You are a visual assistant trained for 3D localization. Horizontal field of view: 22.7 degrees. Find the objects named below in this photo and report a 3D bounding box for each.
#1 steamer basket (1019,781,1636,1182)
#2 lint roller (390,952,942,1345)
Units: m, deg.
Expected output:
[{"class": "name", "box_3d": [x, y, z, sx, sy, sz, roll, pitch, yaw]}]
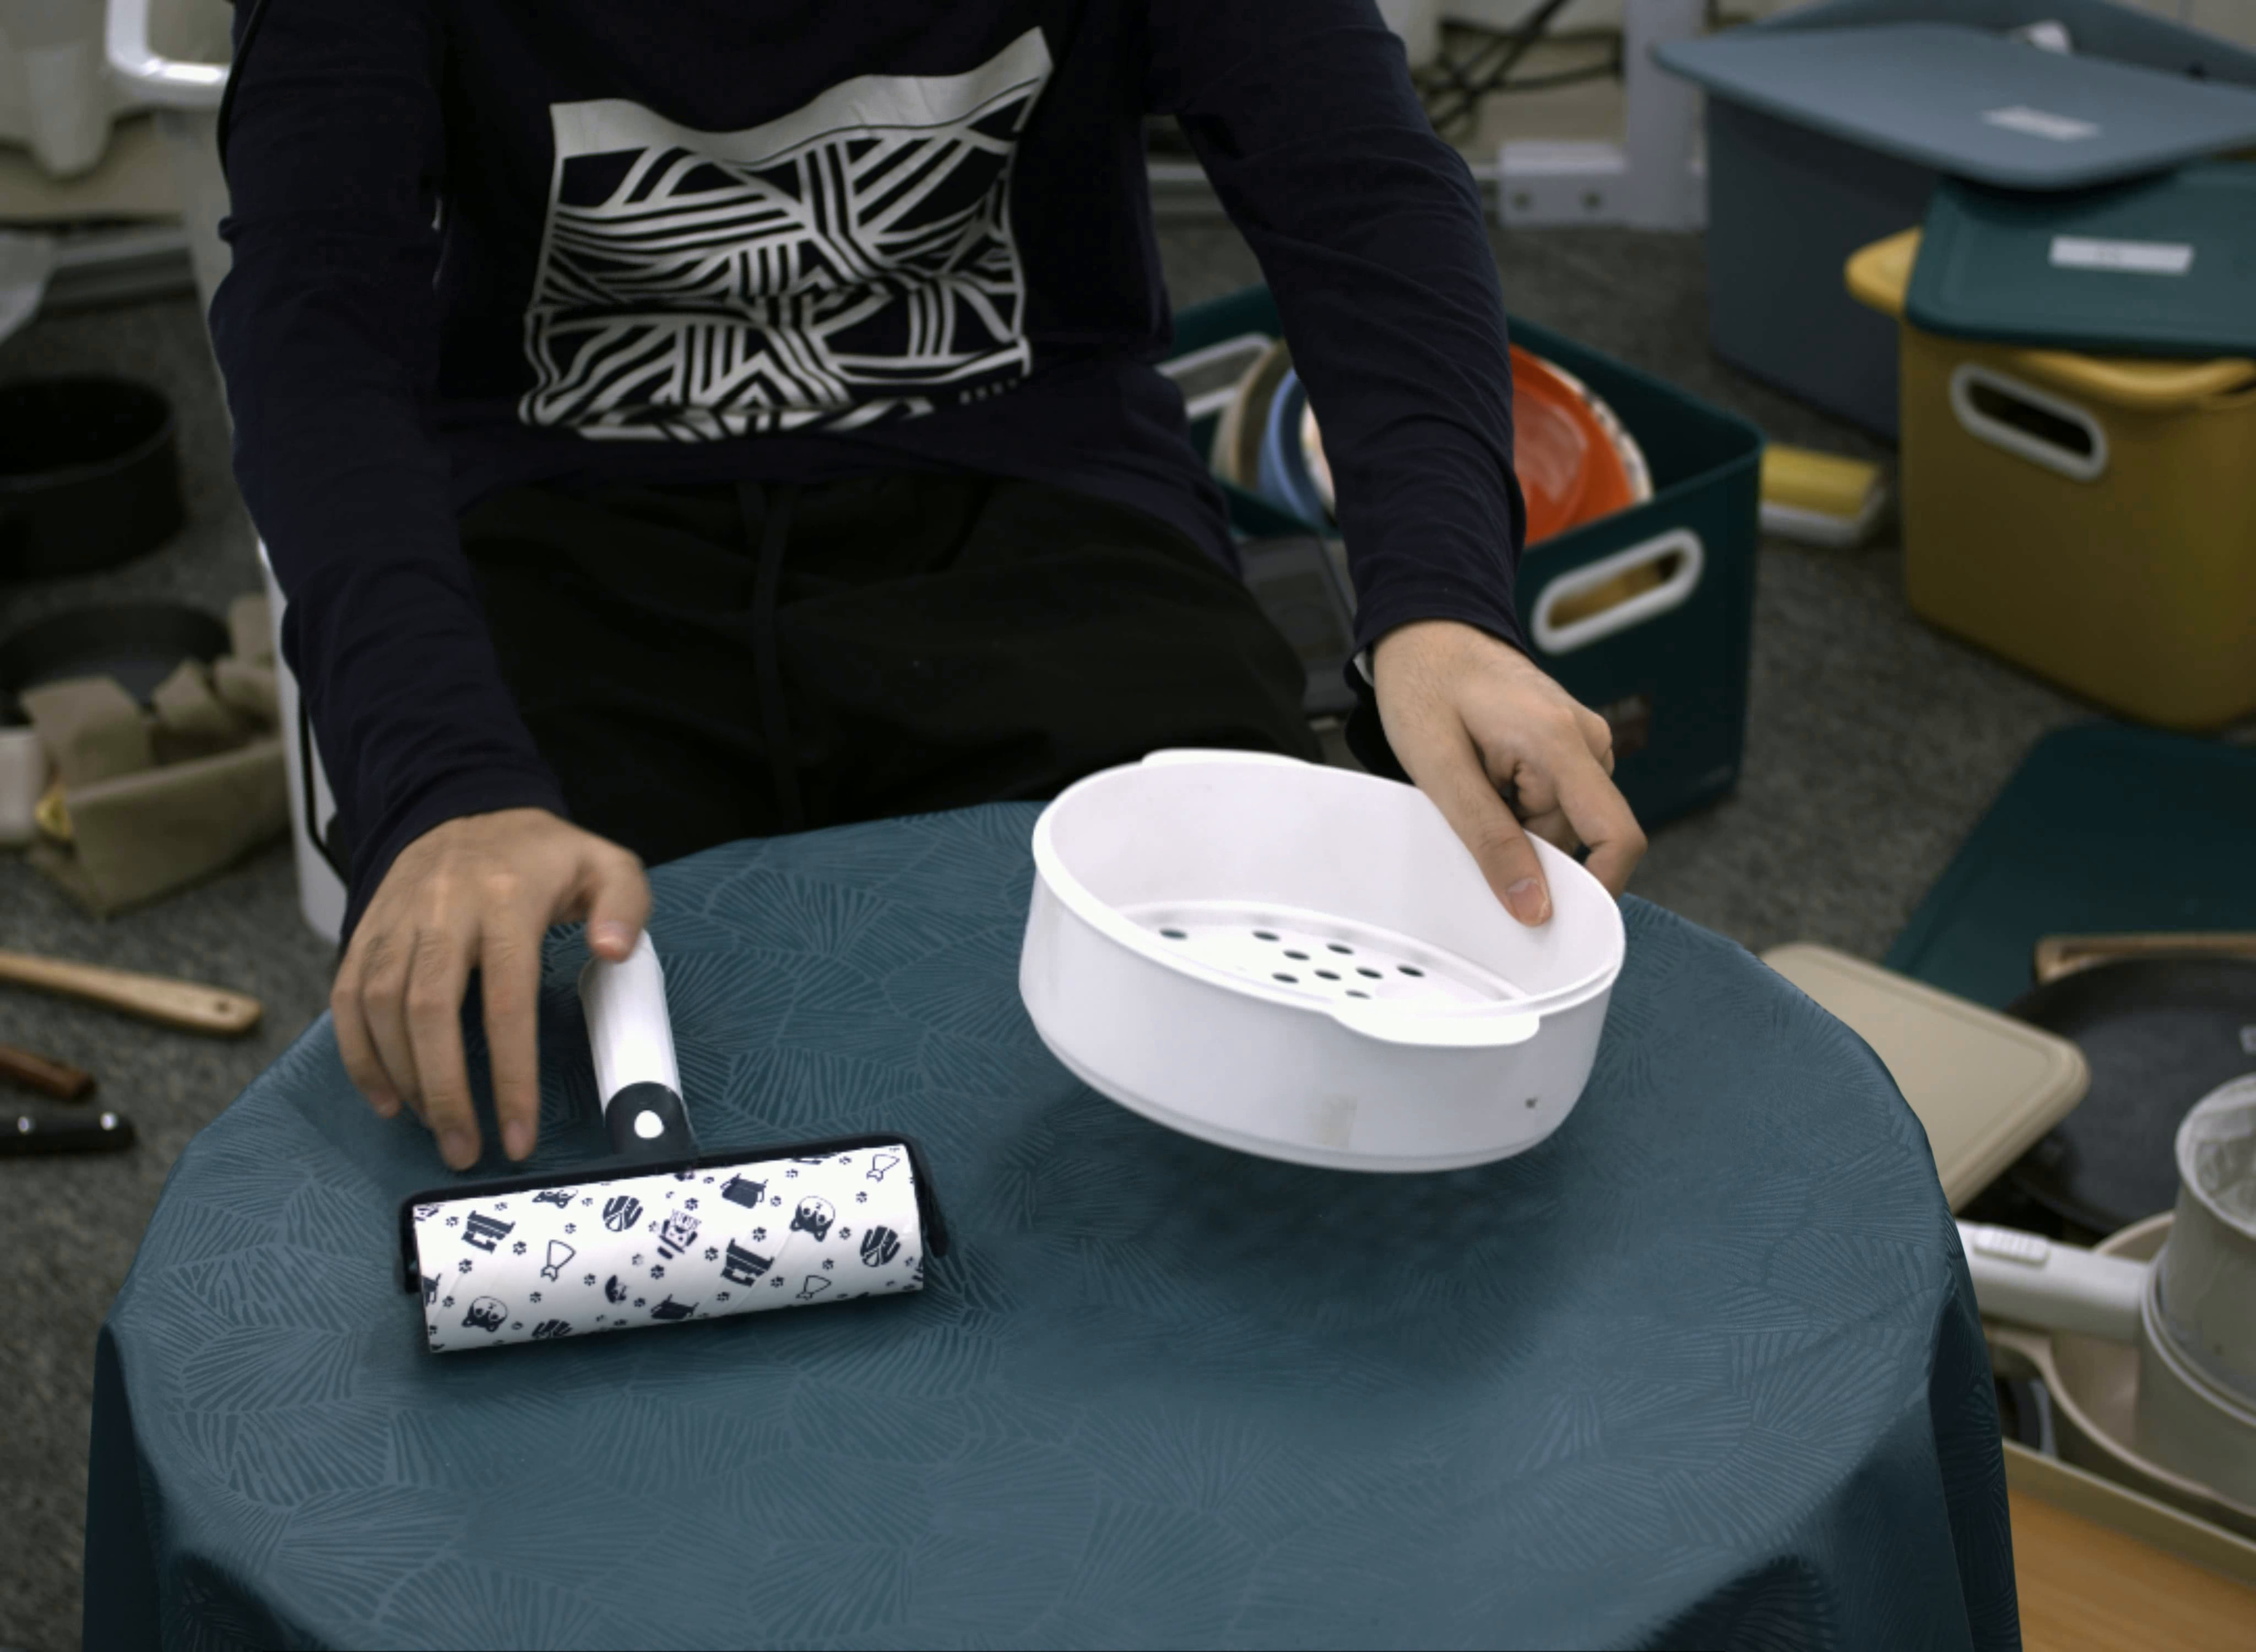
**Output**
[{"class": "steamer basket", "box_3d": [0.064, 0.052, 1.858, 0.202, 0.069, 0.232, 2, 20, -21]}, {"class": "lint roller", "box_3d": [-0.166, 0.094, 1.889, 0.176, 0.050, 0.249, -8, 24, -8]}]
